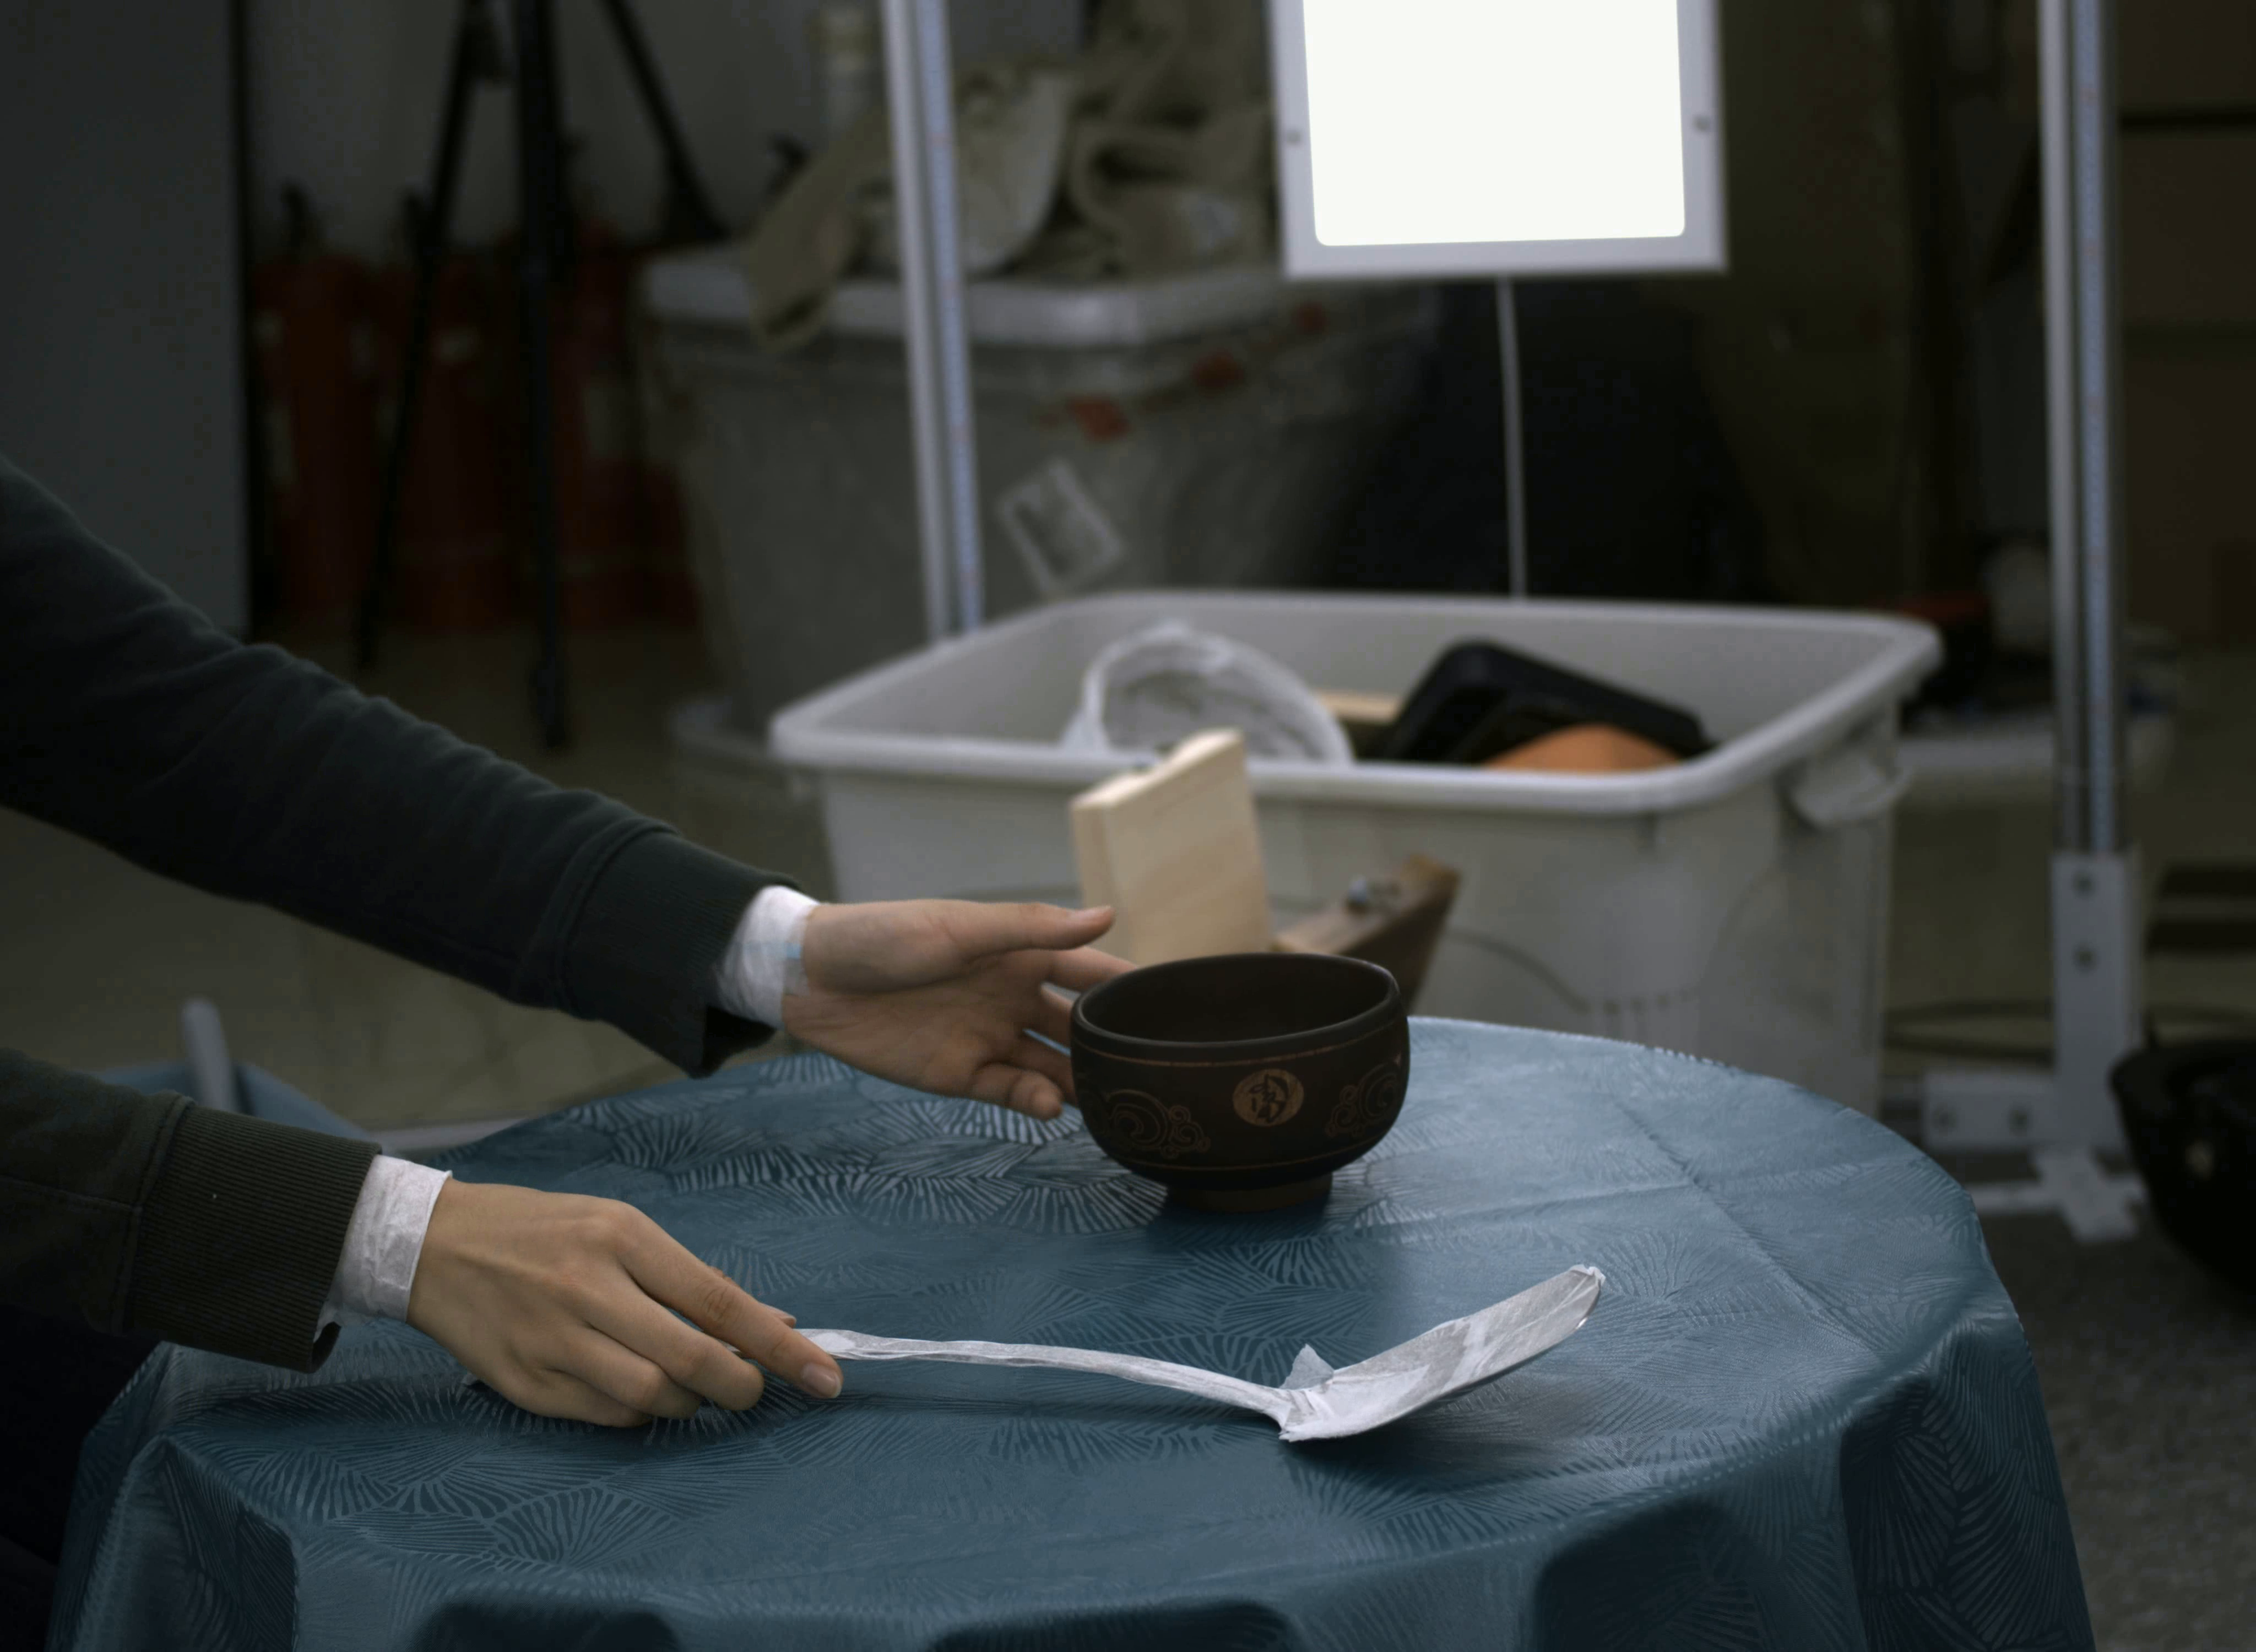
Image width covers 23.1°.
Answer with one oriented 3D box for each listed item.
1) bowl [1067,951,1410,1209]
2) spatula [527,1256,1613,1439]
[{"bbox_3d":[0.039,0.090,1.882,0.118,0.070,0.118,-5,12,0],"label":"bowl"},{"bbox_3d":[-0.029,0.158,1.697,0.370,0.045,0.097,1,17,23],"label":"spatula"}]
